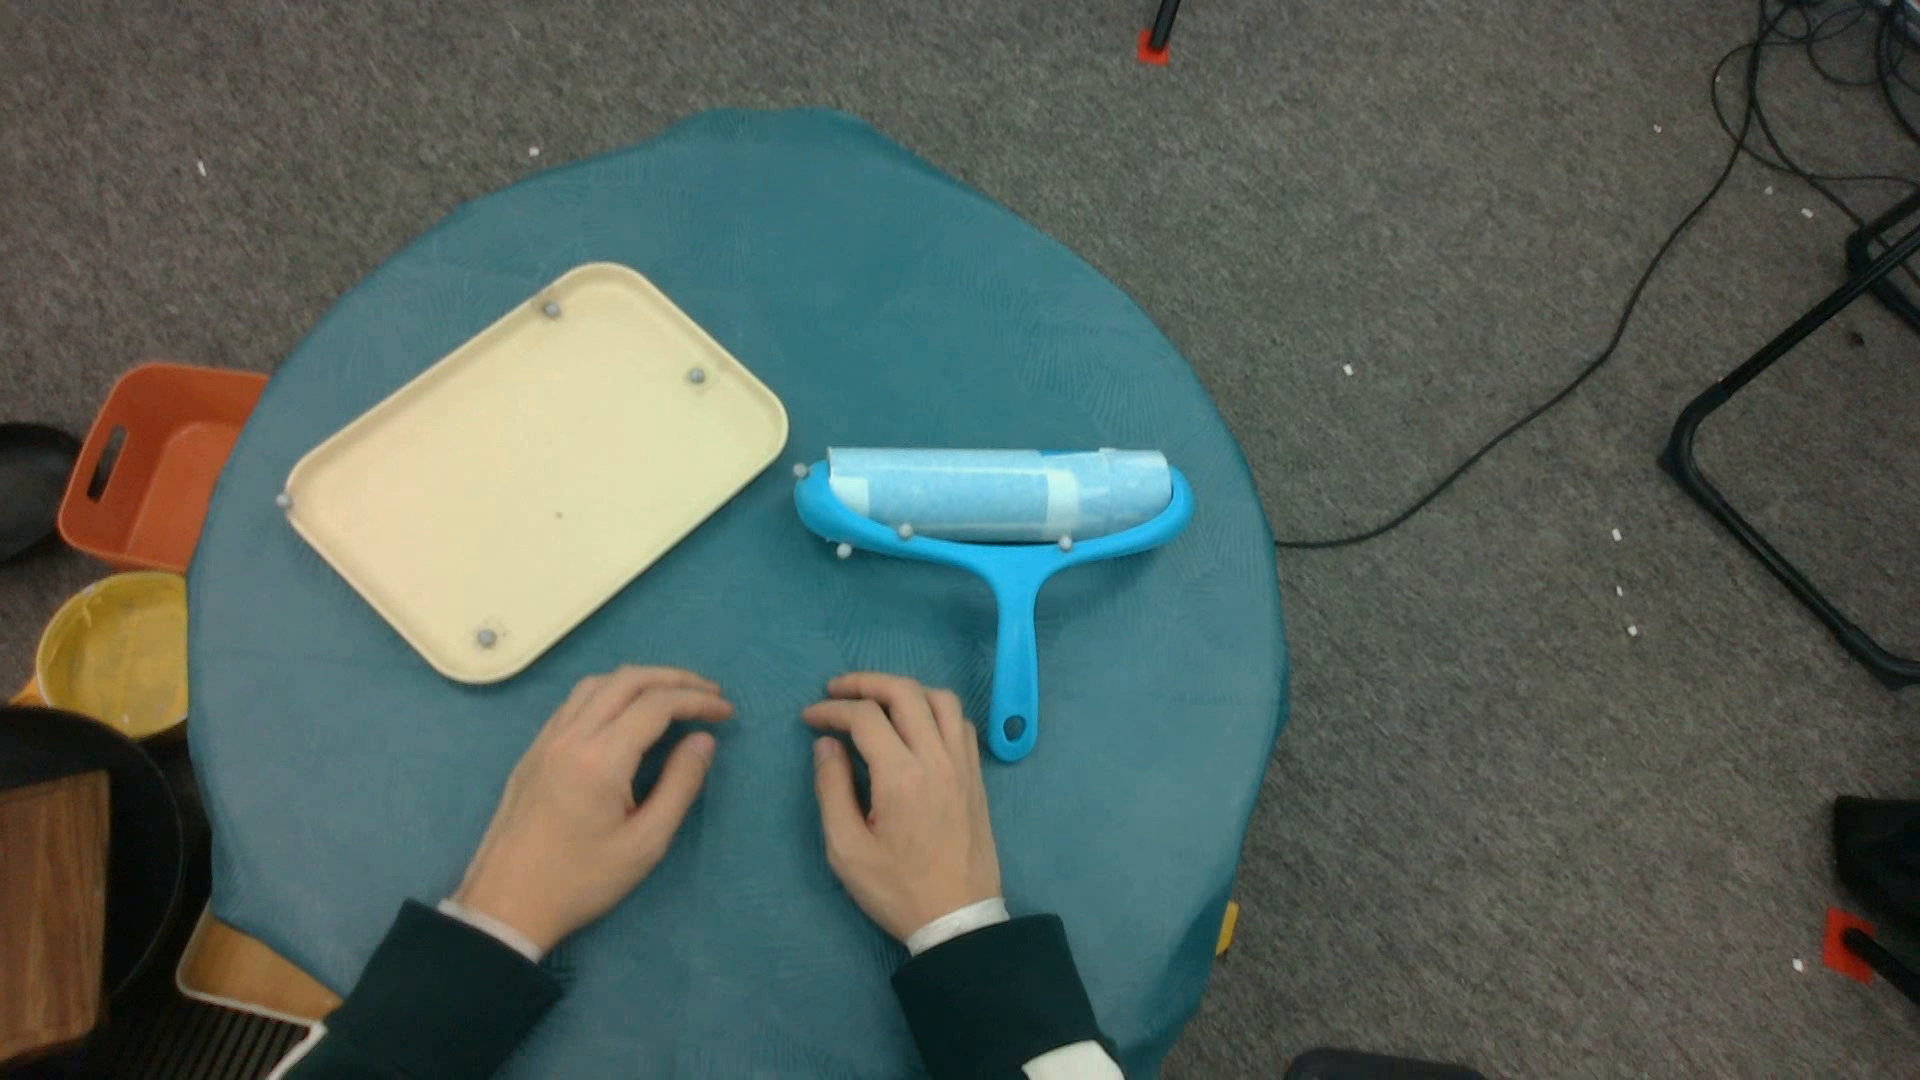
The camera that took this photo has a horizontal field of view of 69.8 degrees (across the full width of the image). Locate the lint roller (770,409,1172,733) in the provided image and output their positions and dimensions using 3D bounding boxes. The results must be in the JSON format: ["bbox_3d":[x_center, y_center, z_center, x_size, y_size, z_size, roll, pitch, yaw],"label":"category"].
[{"bbox_3d":[0.017,0.011,0.757,0.229,0.067,0.181,-4,68,-13],"label":"lint roller"}]

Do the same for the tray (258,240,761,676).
[{"bbox_3d":[-0.241,-0.051,0.758,0.171,0.017,0.240,41,67,7],"label":"tray"}]
